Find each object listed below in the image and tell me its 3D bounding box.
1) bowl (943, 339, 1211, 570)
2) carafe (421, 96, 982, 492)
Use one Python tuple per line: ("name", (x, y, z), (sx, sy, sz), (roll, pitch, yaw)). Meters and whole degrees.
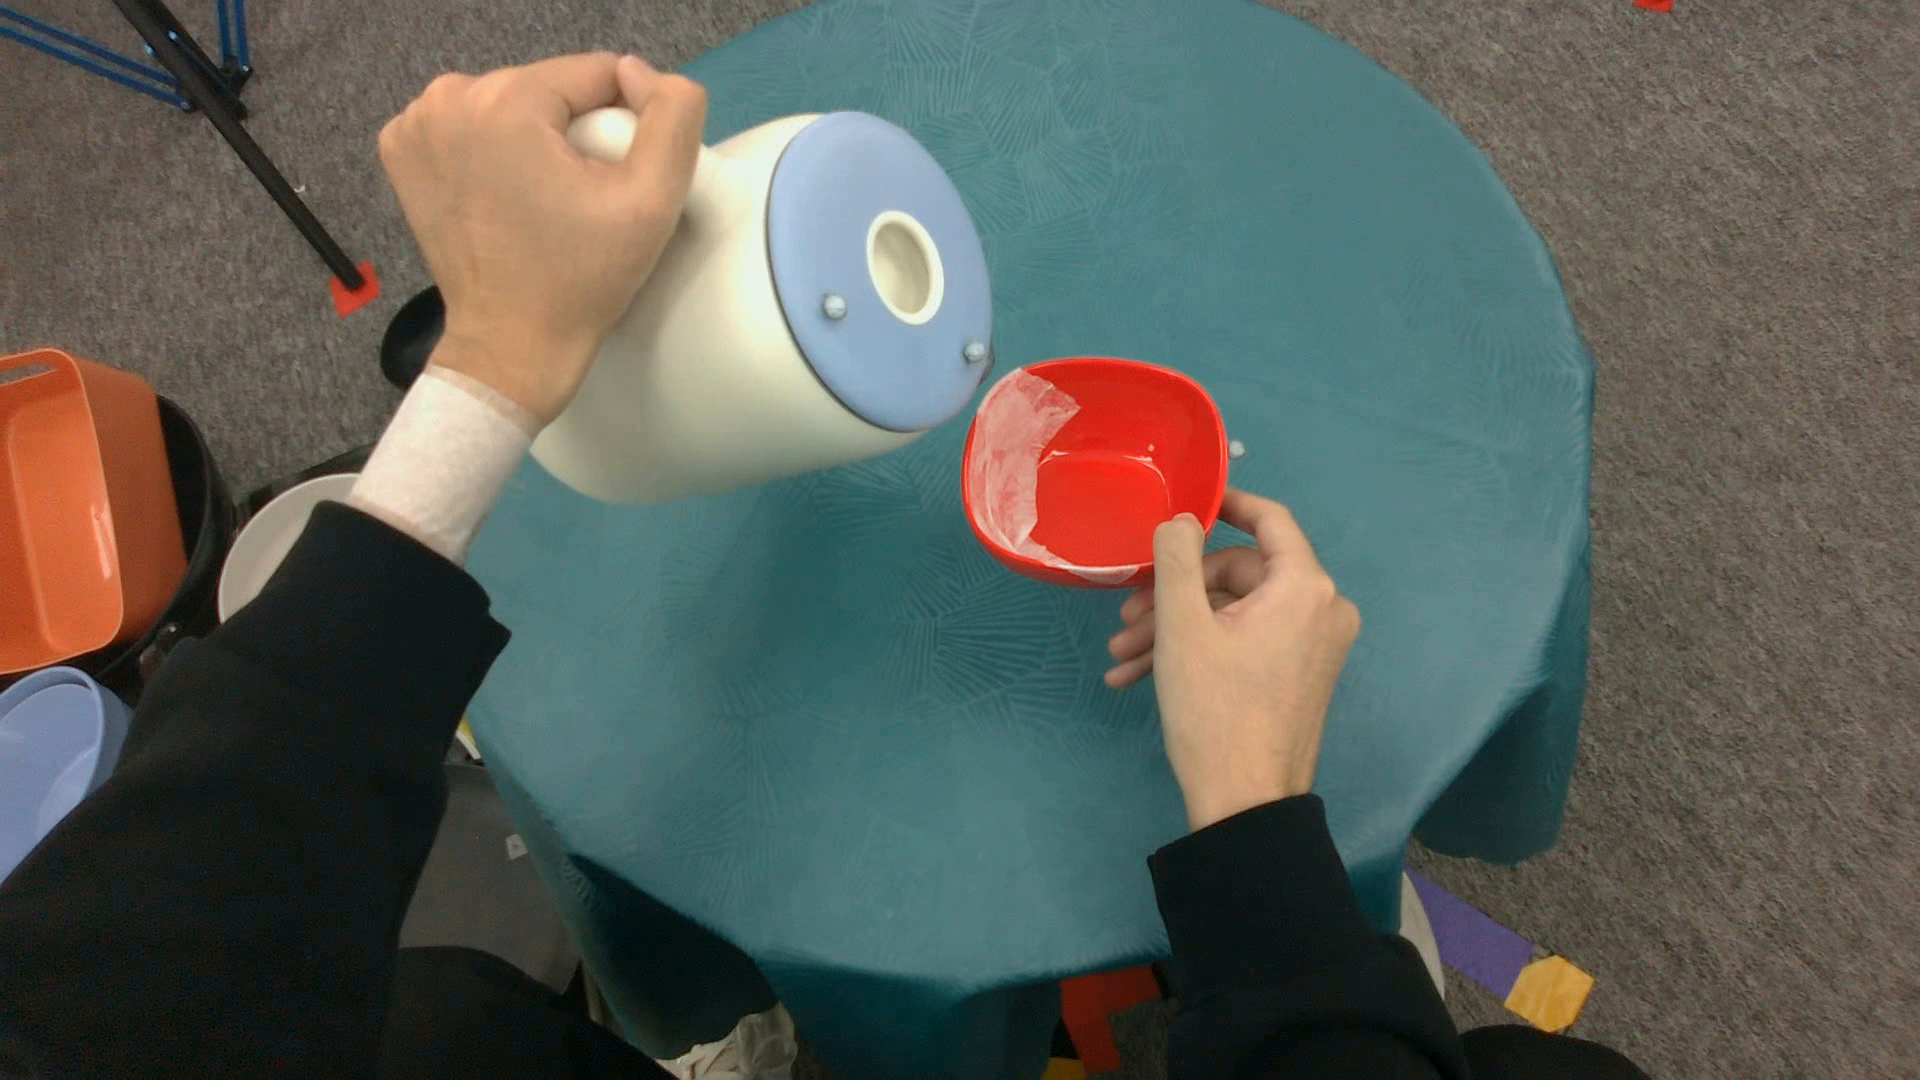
("bowl", (0.050, -0.029, 0.590), (0.119, 0.051, 0.119), (-2, 55, 2))
("carafe", (-0.111, -0.103, 0.540), (0.182, 0.191, 0.132), (-11, 63, 38))
